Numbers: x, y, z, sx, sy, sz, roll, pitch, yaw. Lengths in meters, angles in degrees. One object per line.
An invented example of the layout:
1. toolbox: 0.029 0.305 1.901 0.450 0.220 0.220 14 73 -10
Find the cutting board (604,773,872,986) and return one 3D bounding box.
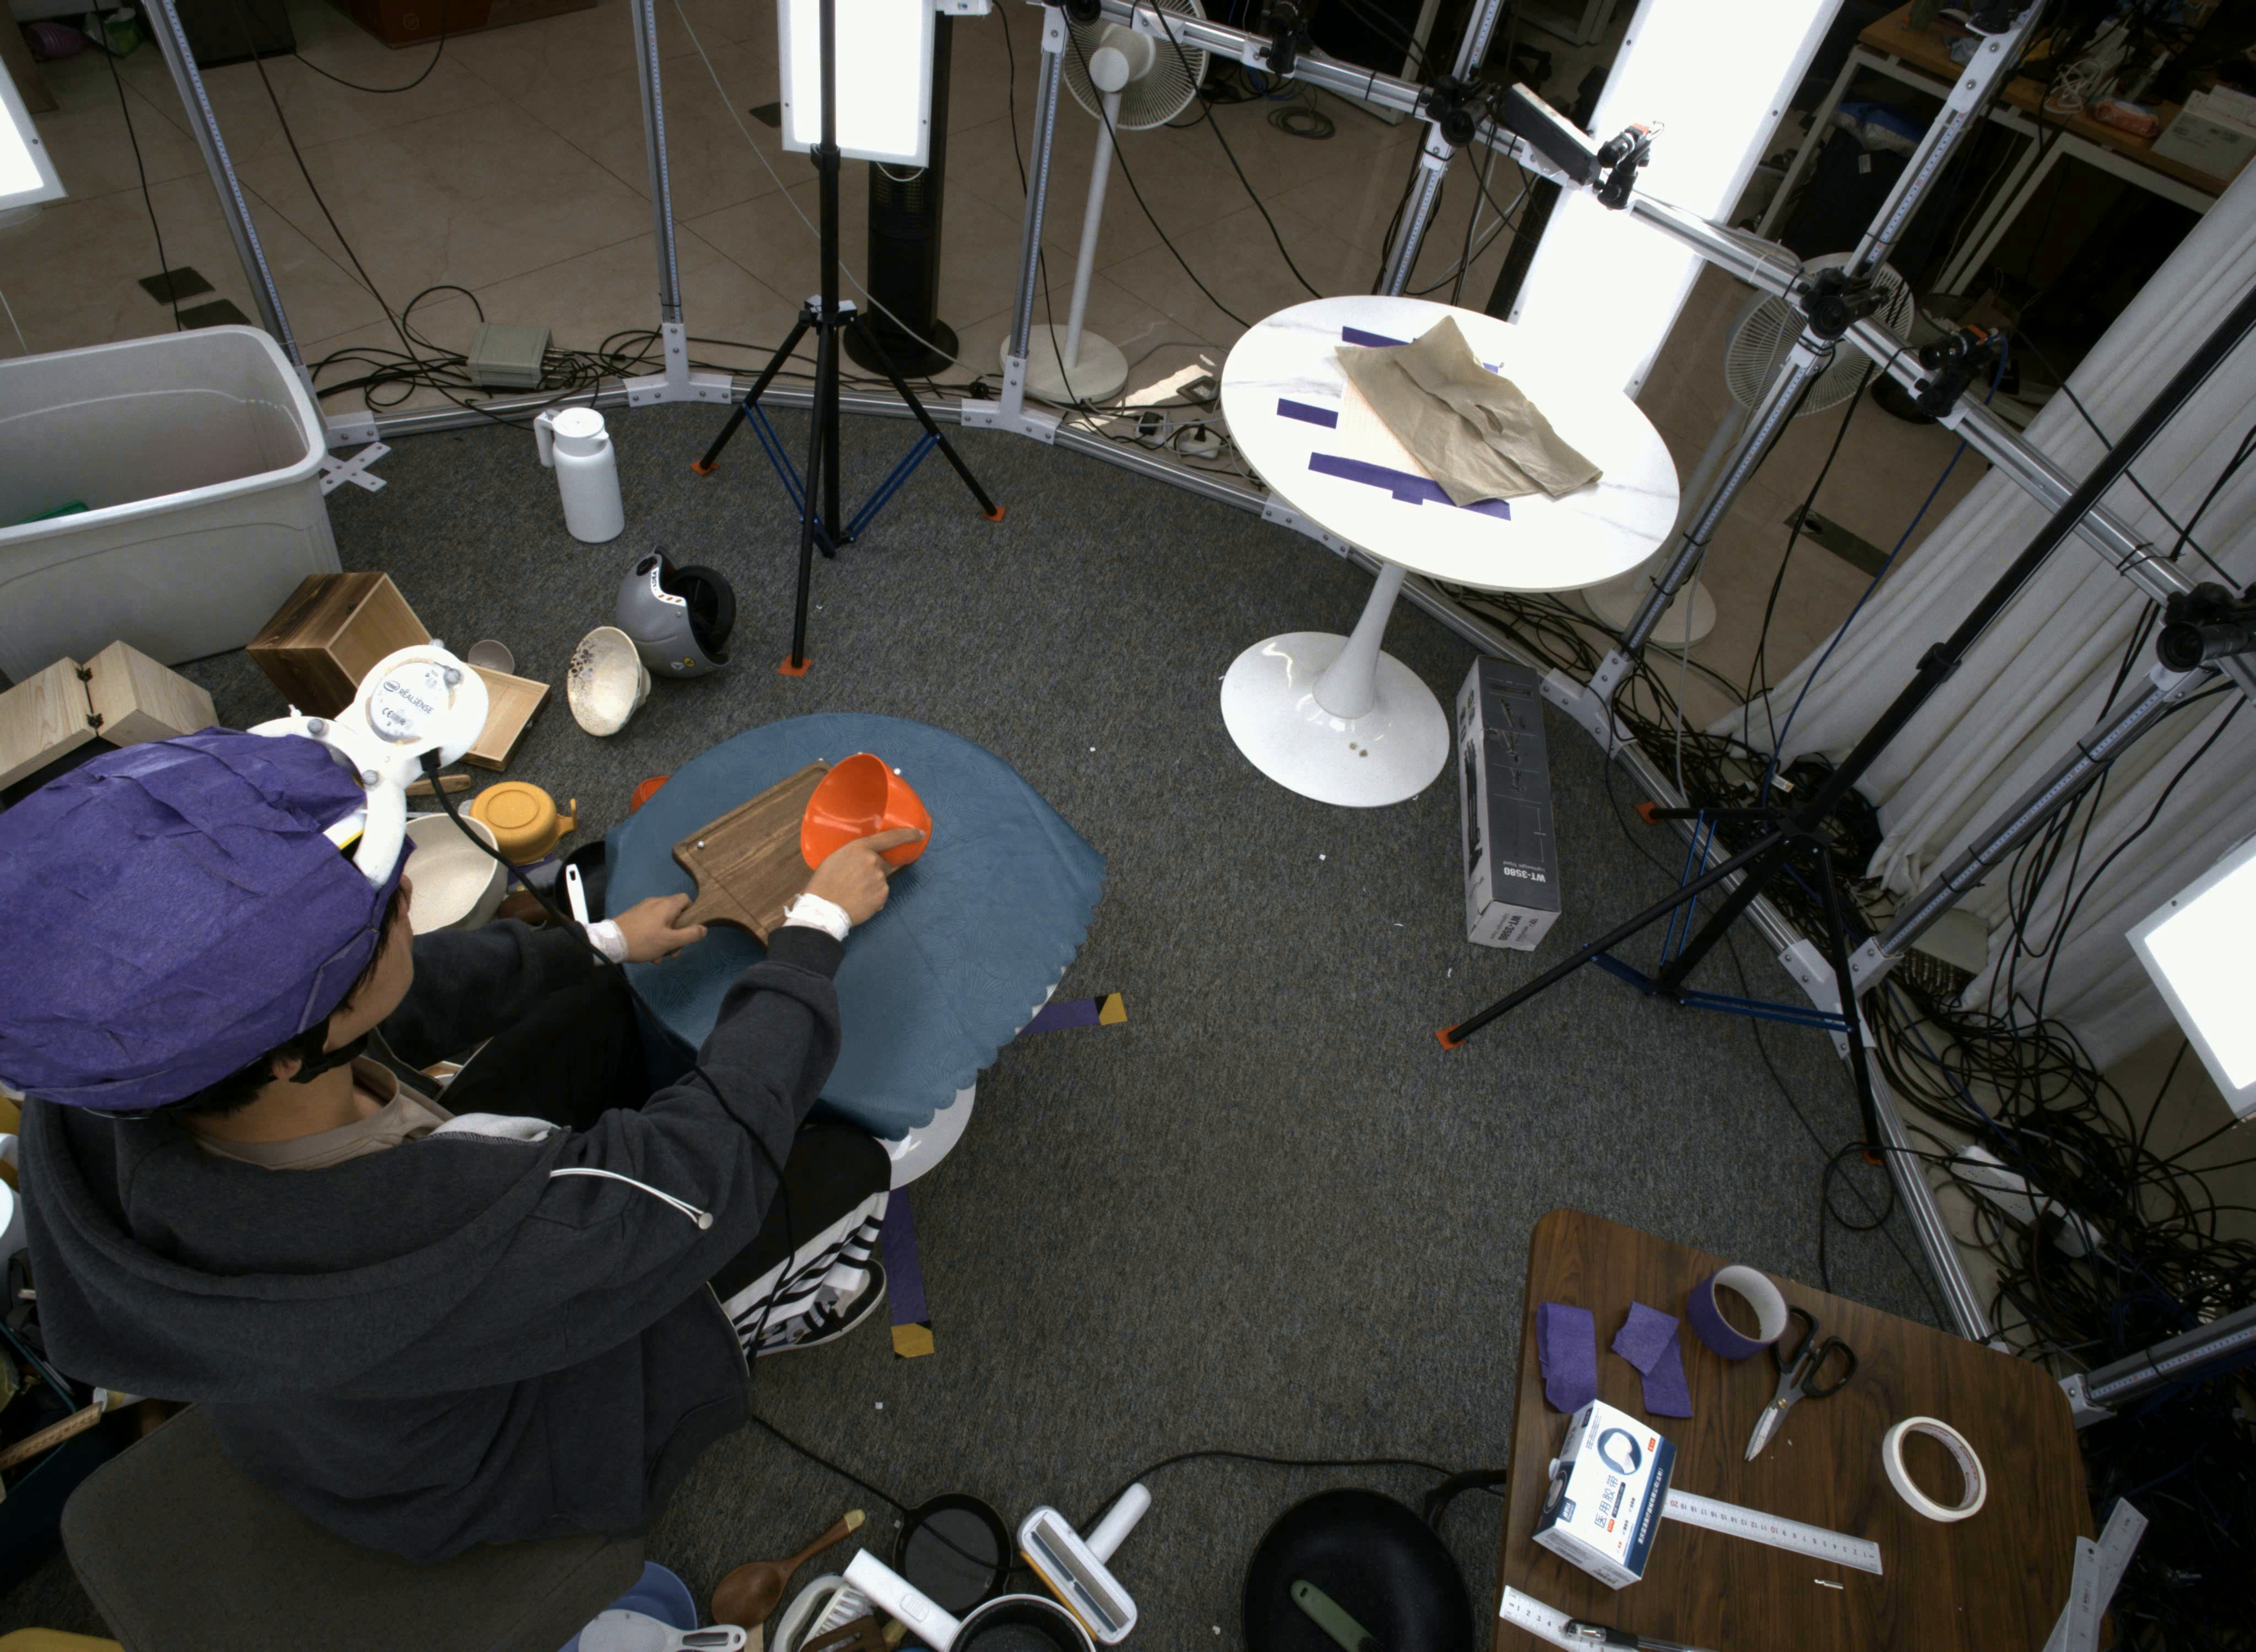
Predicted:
1. cutting board: -0.500 0.079 1.578 0.198 0.023 0.352 39 49 10

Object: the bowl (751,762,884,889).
1. bowl: -0.345 0.010 1.474 0.108 0.147 0.144 22 41 -40
